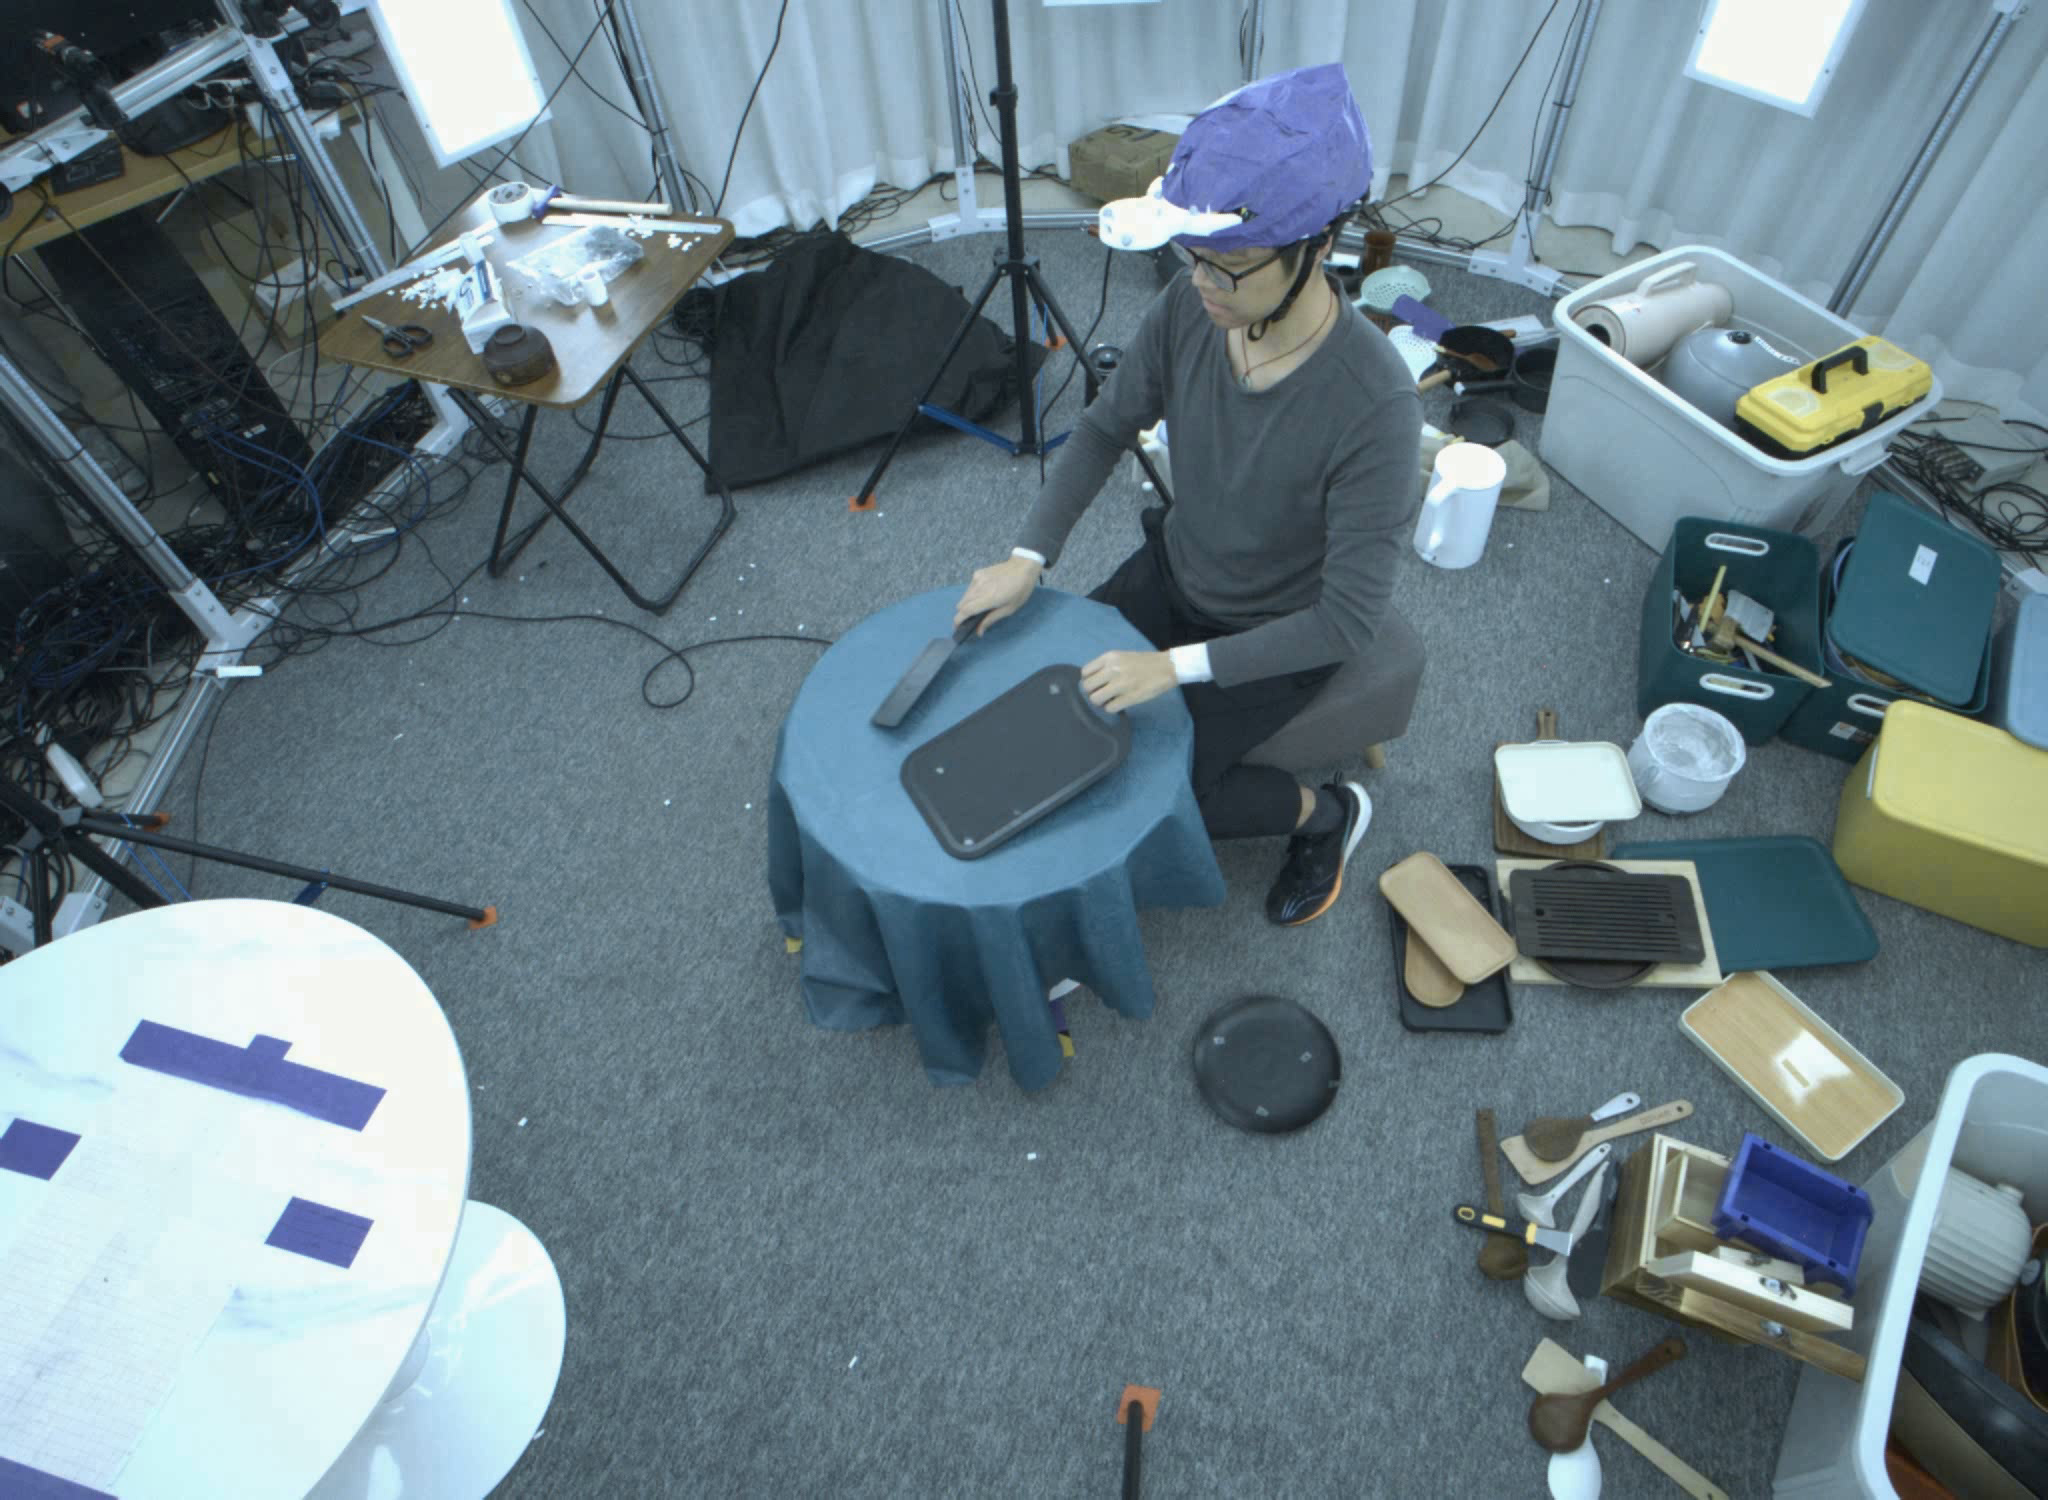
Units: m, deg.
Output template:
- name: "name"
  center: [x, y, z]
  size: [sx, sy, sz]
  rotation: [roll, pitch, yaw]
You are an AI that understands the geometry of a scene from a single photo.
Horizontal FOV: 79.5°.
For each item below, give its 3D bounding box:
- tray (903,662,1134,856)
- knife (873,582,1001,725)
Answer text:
- name: "tray"
  center: [-0.005, 0.002, 1.751]
  size: [0.326, 0.010, 0.207]
  rotation: [-32, 60, -6]
- name: "knife"
  center: [-0.127, -0.149, 1.866]
  size: [0.079, 0.021, 0.303]
  rotation: [14, 57, 41]
